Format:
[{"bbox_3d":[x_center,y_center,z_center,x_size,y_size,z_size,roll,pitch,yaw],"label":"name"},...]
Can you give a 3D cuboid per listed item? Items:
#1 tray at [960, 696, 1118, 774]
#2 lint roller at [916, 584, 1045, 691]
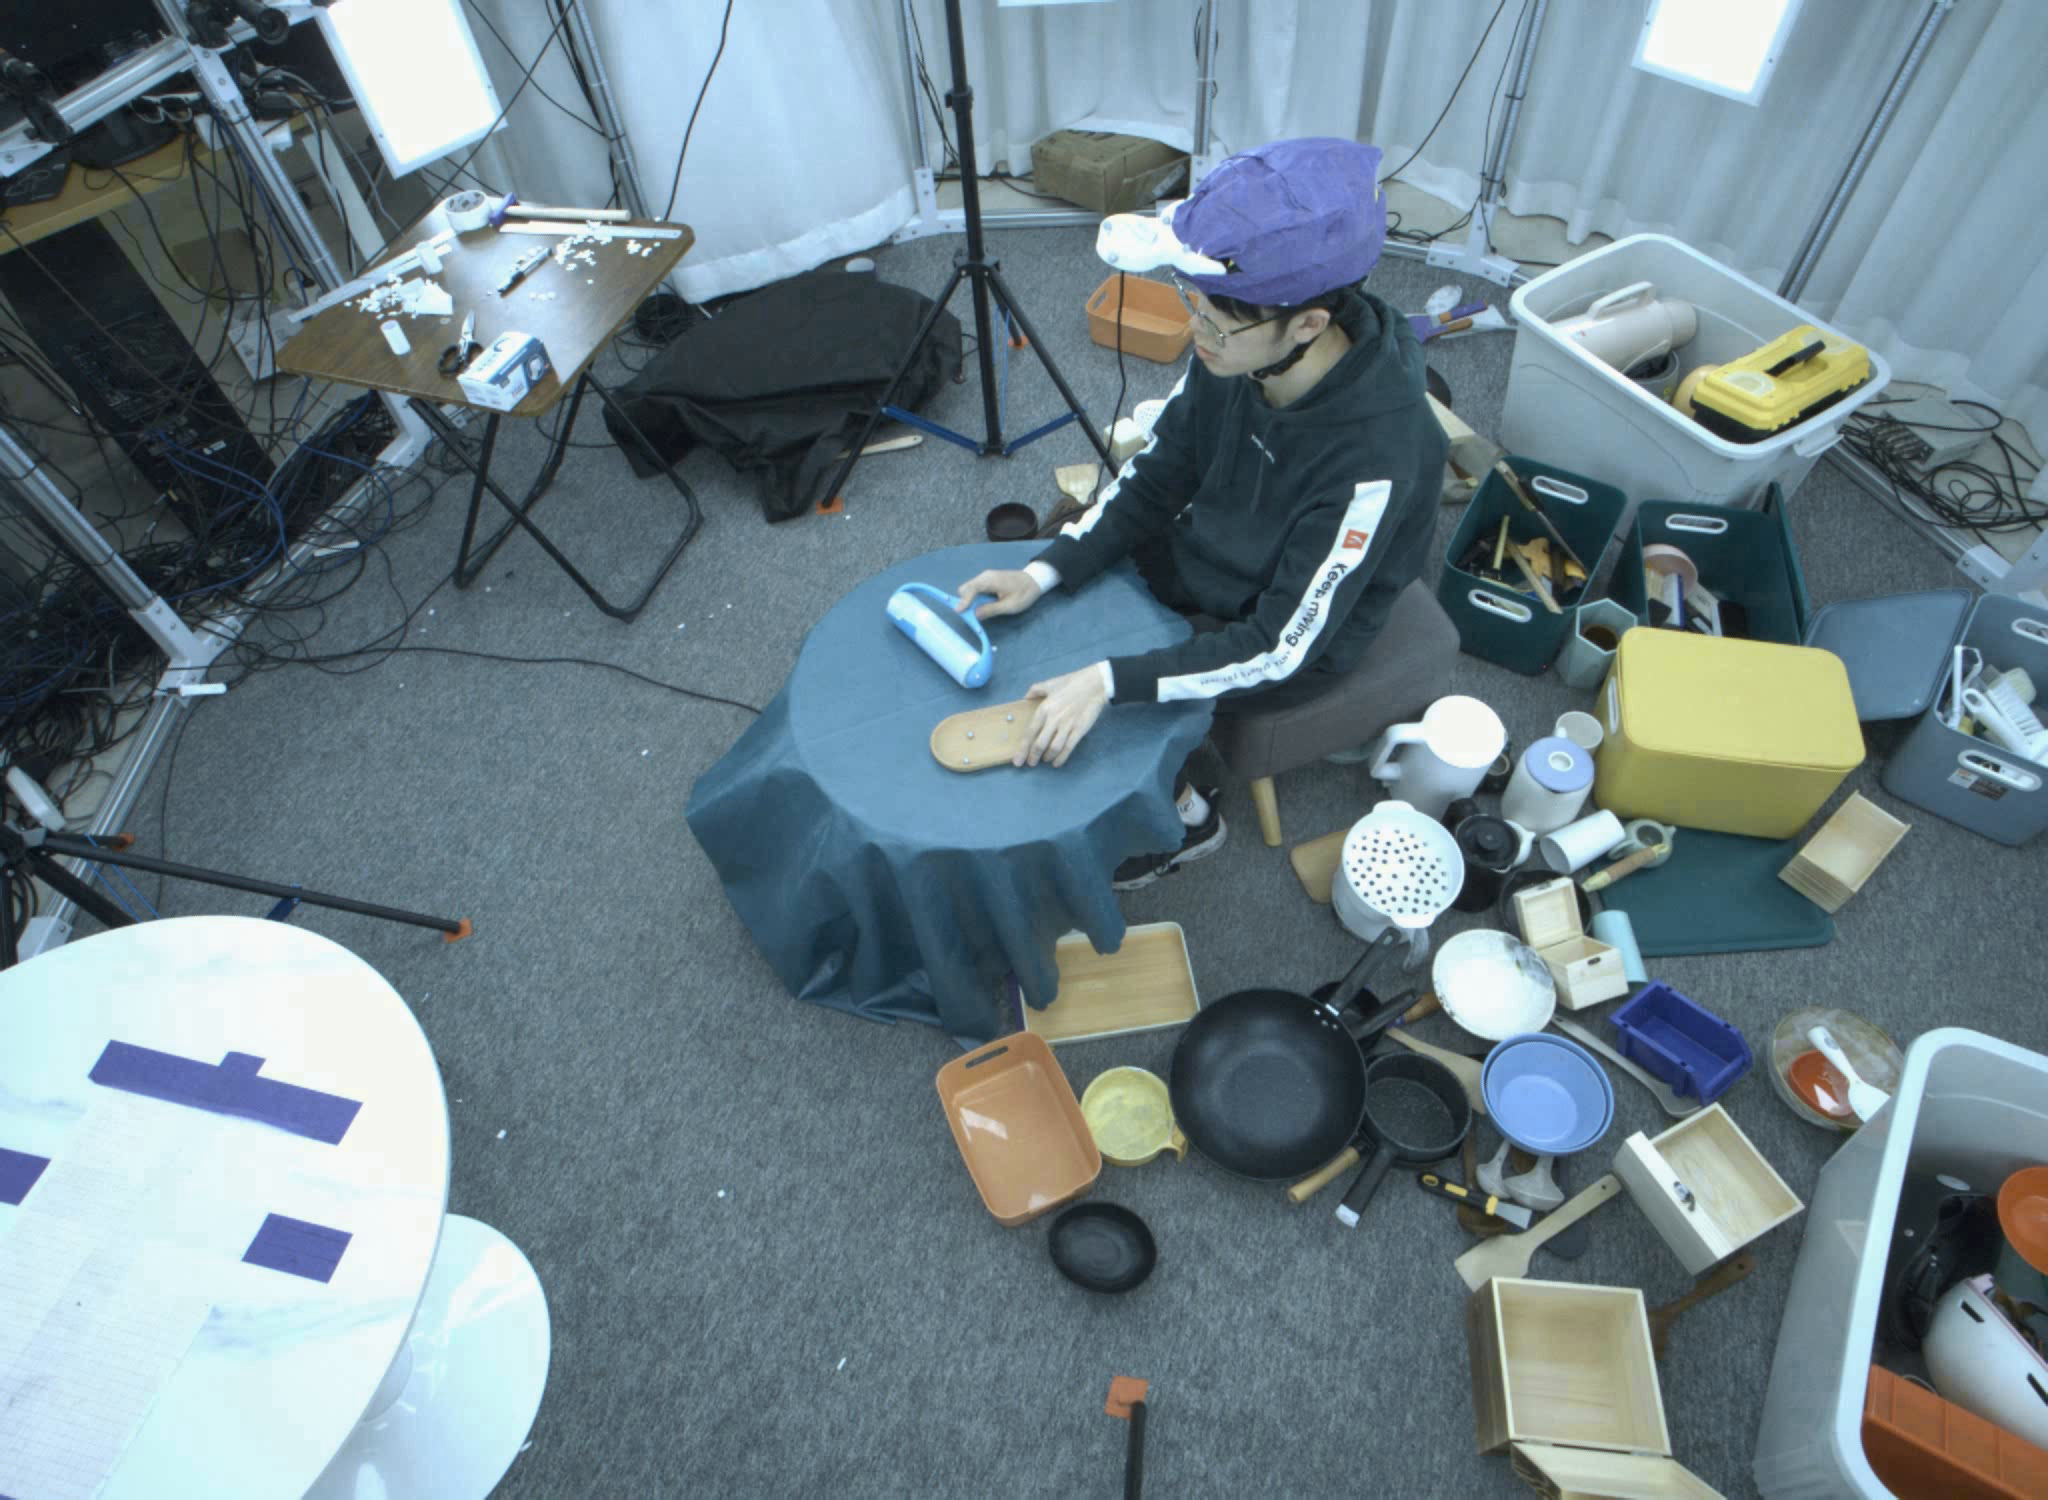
[{"bbox_3d":[0.022,-0.021,1.788,0.232,0.020,0.100,-11,56,-8],"label":"tray"},{"bbox_3d":[-0.044,-0.201,1.892,0.181,0.069,0.224,-37,60,-21],"label":"lint roller"}]
